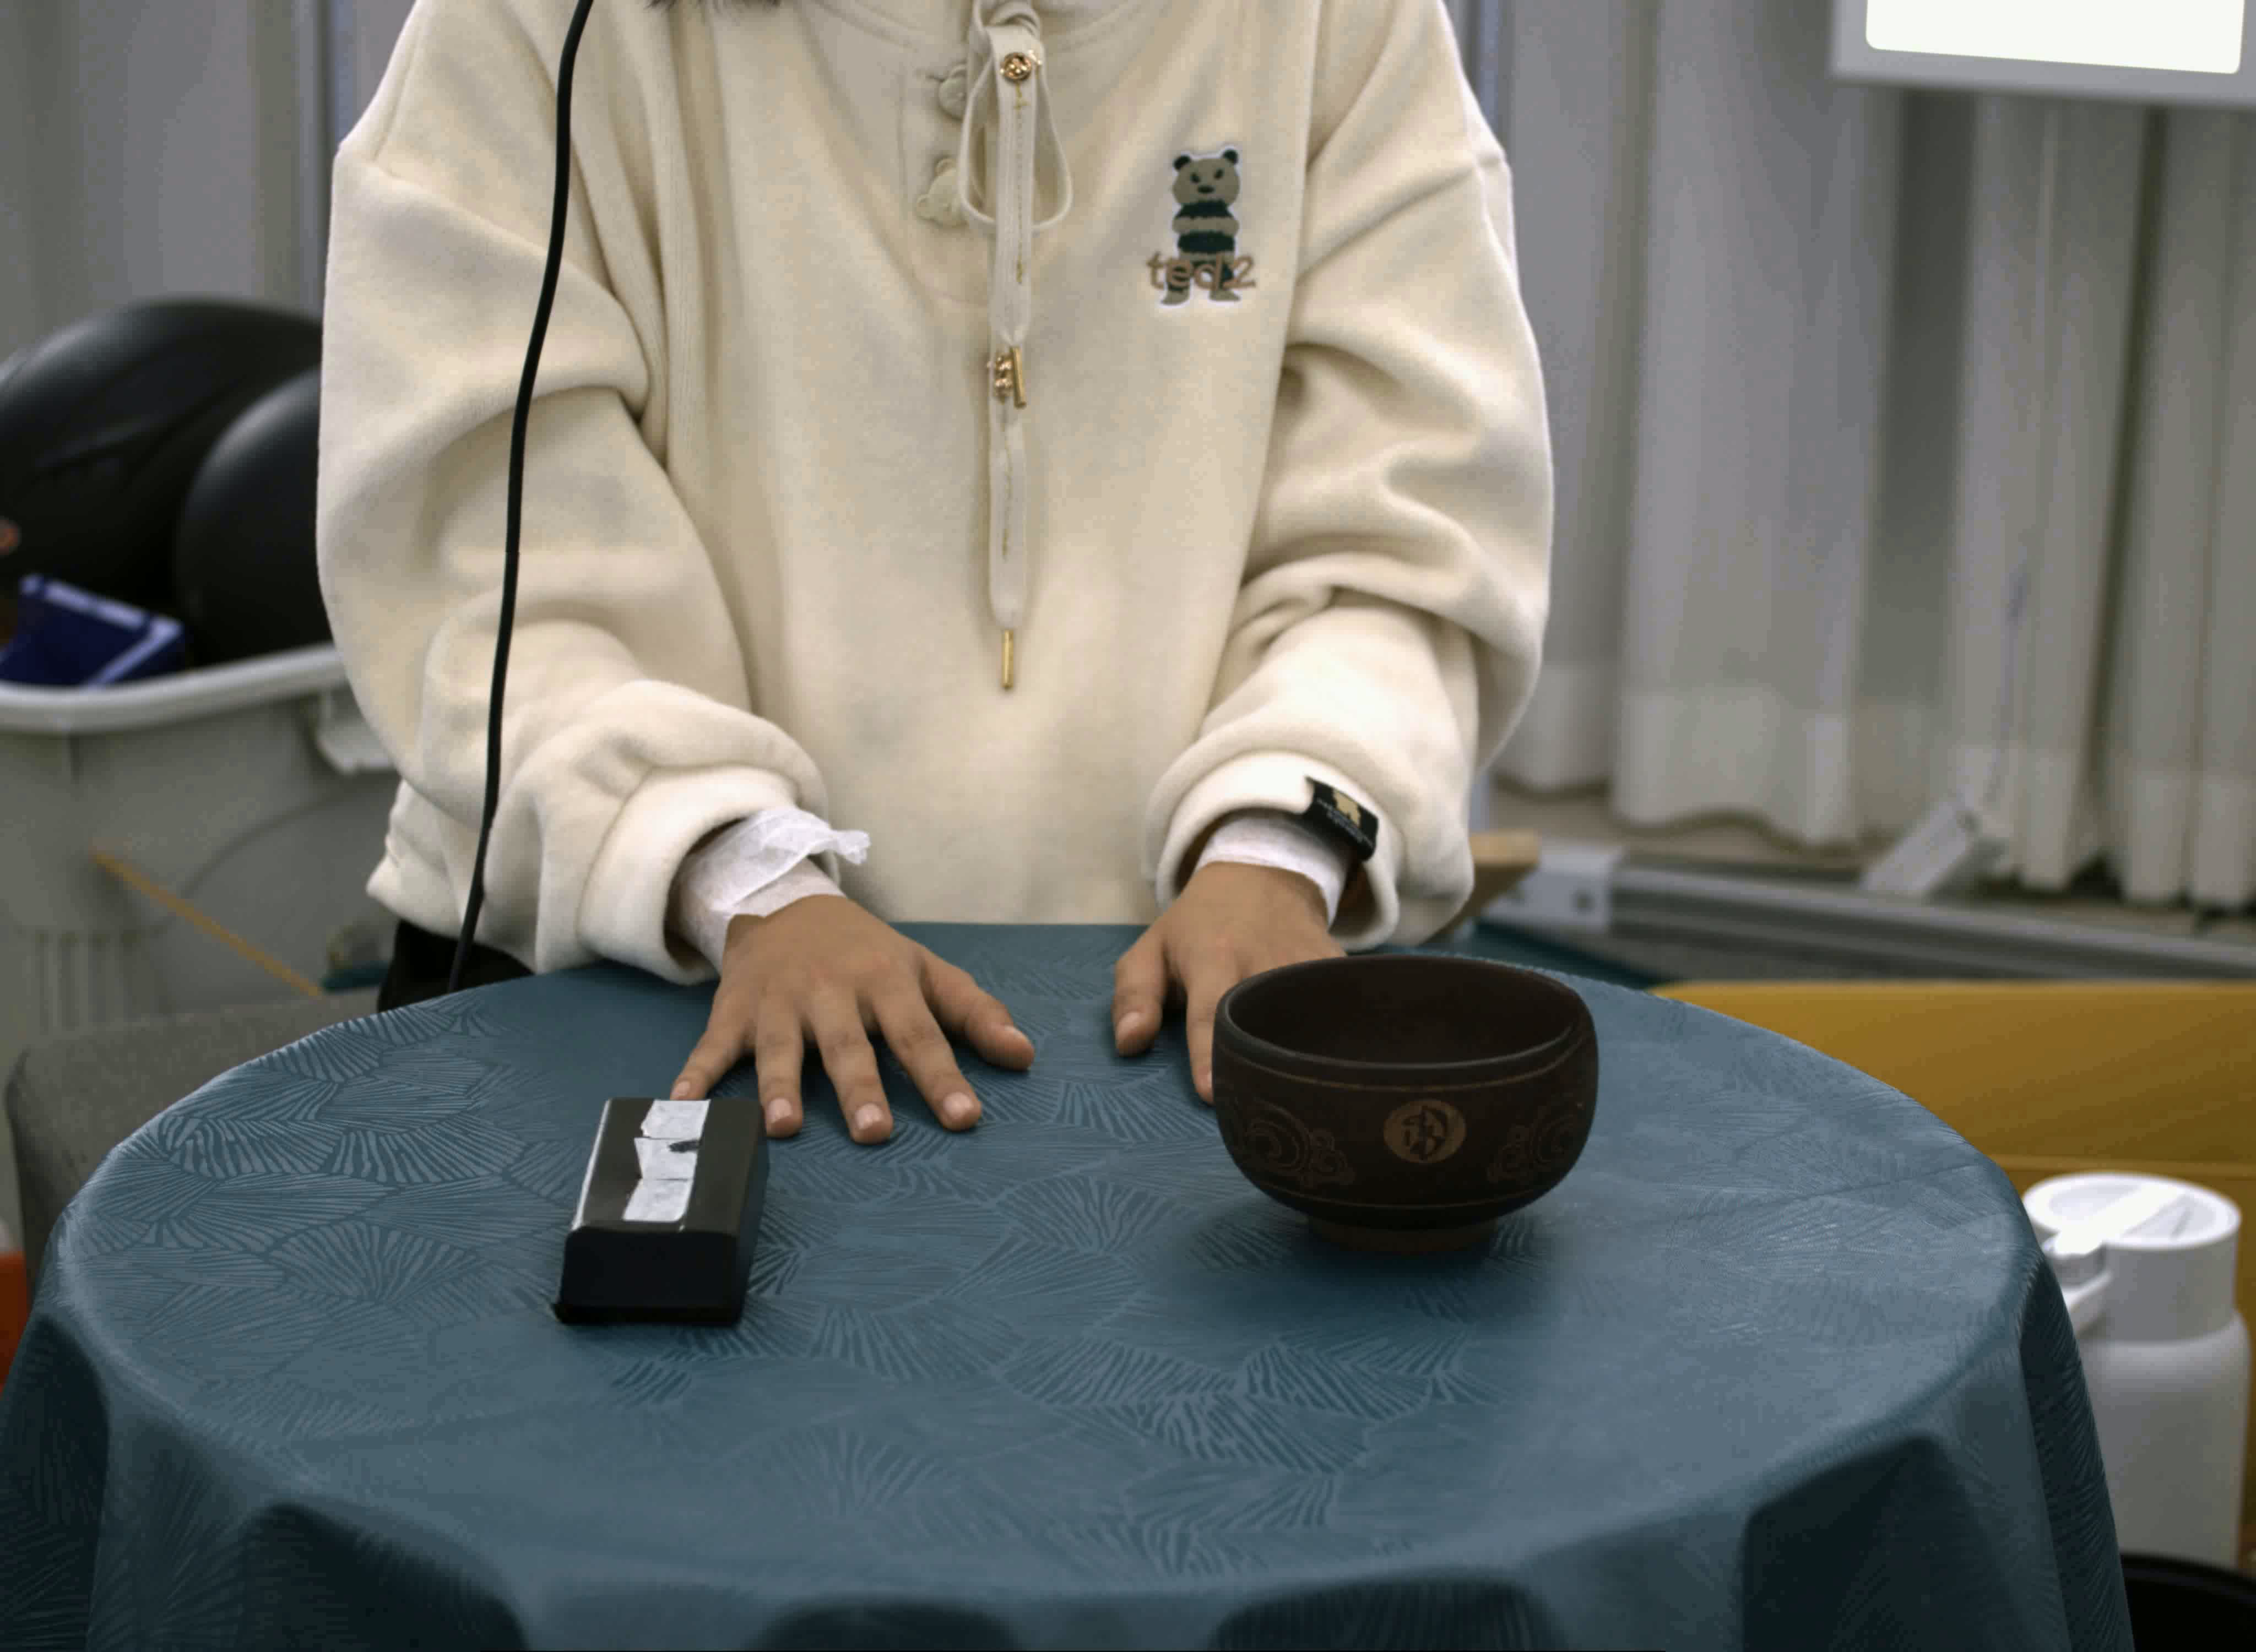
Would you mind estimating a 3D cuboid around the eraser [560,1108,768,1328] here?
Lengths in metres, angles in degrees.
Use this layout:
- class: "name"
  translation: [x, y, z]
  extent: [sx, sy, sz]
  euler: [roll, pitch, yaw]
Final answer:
- class: "eraser"
  translation: [-0.136, 0.115, 1.558]
  extent: [0.053, 0.030, 0.125]
  euler: [1, 14, -1]

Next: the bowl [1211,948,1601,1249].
- class: "bowl"
  translation: [0.083, 0.086, 1.585]
  extent: [0.117, 0.070, 0.117]
  euler: [0, 15, 1]
